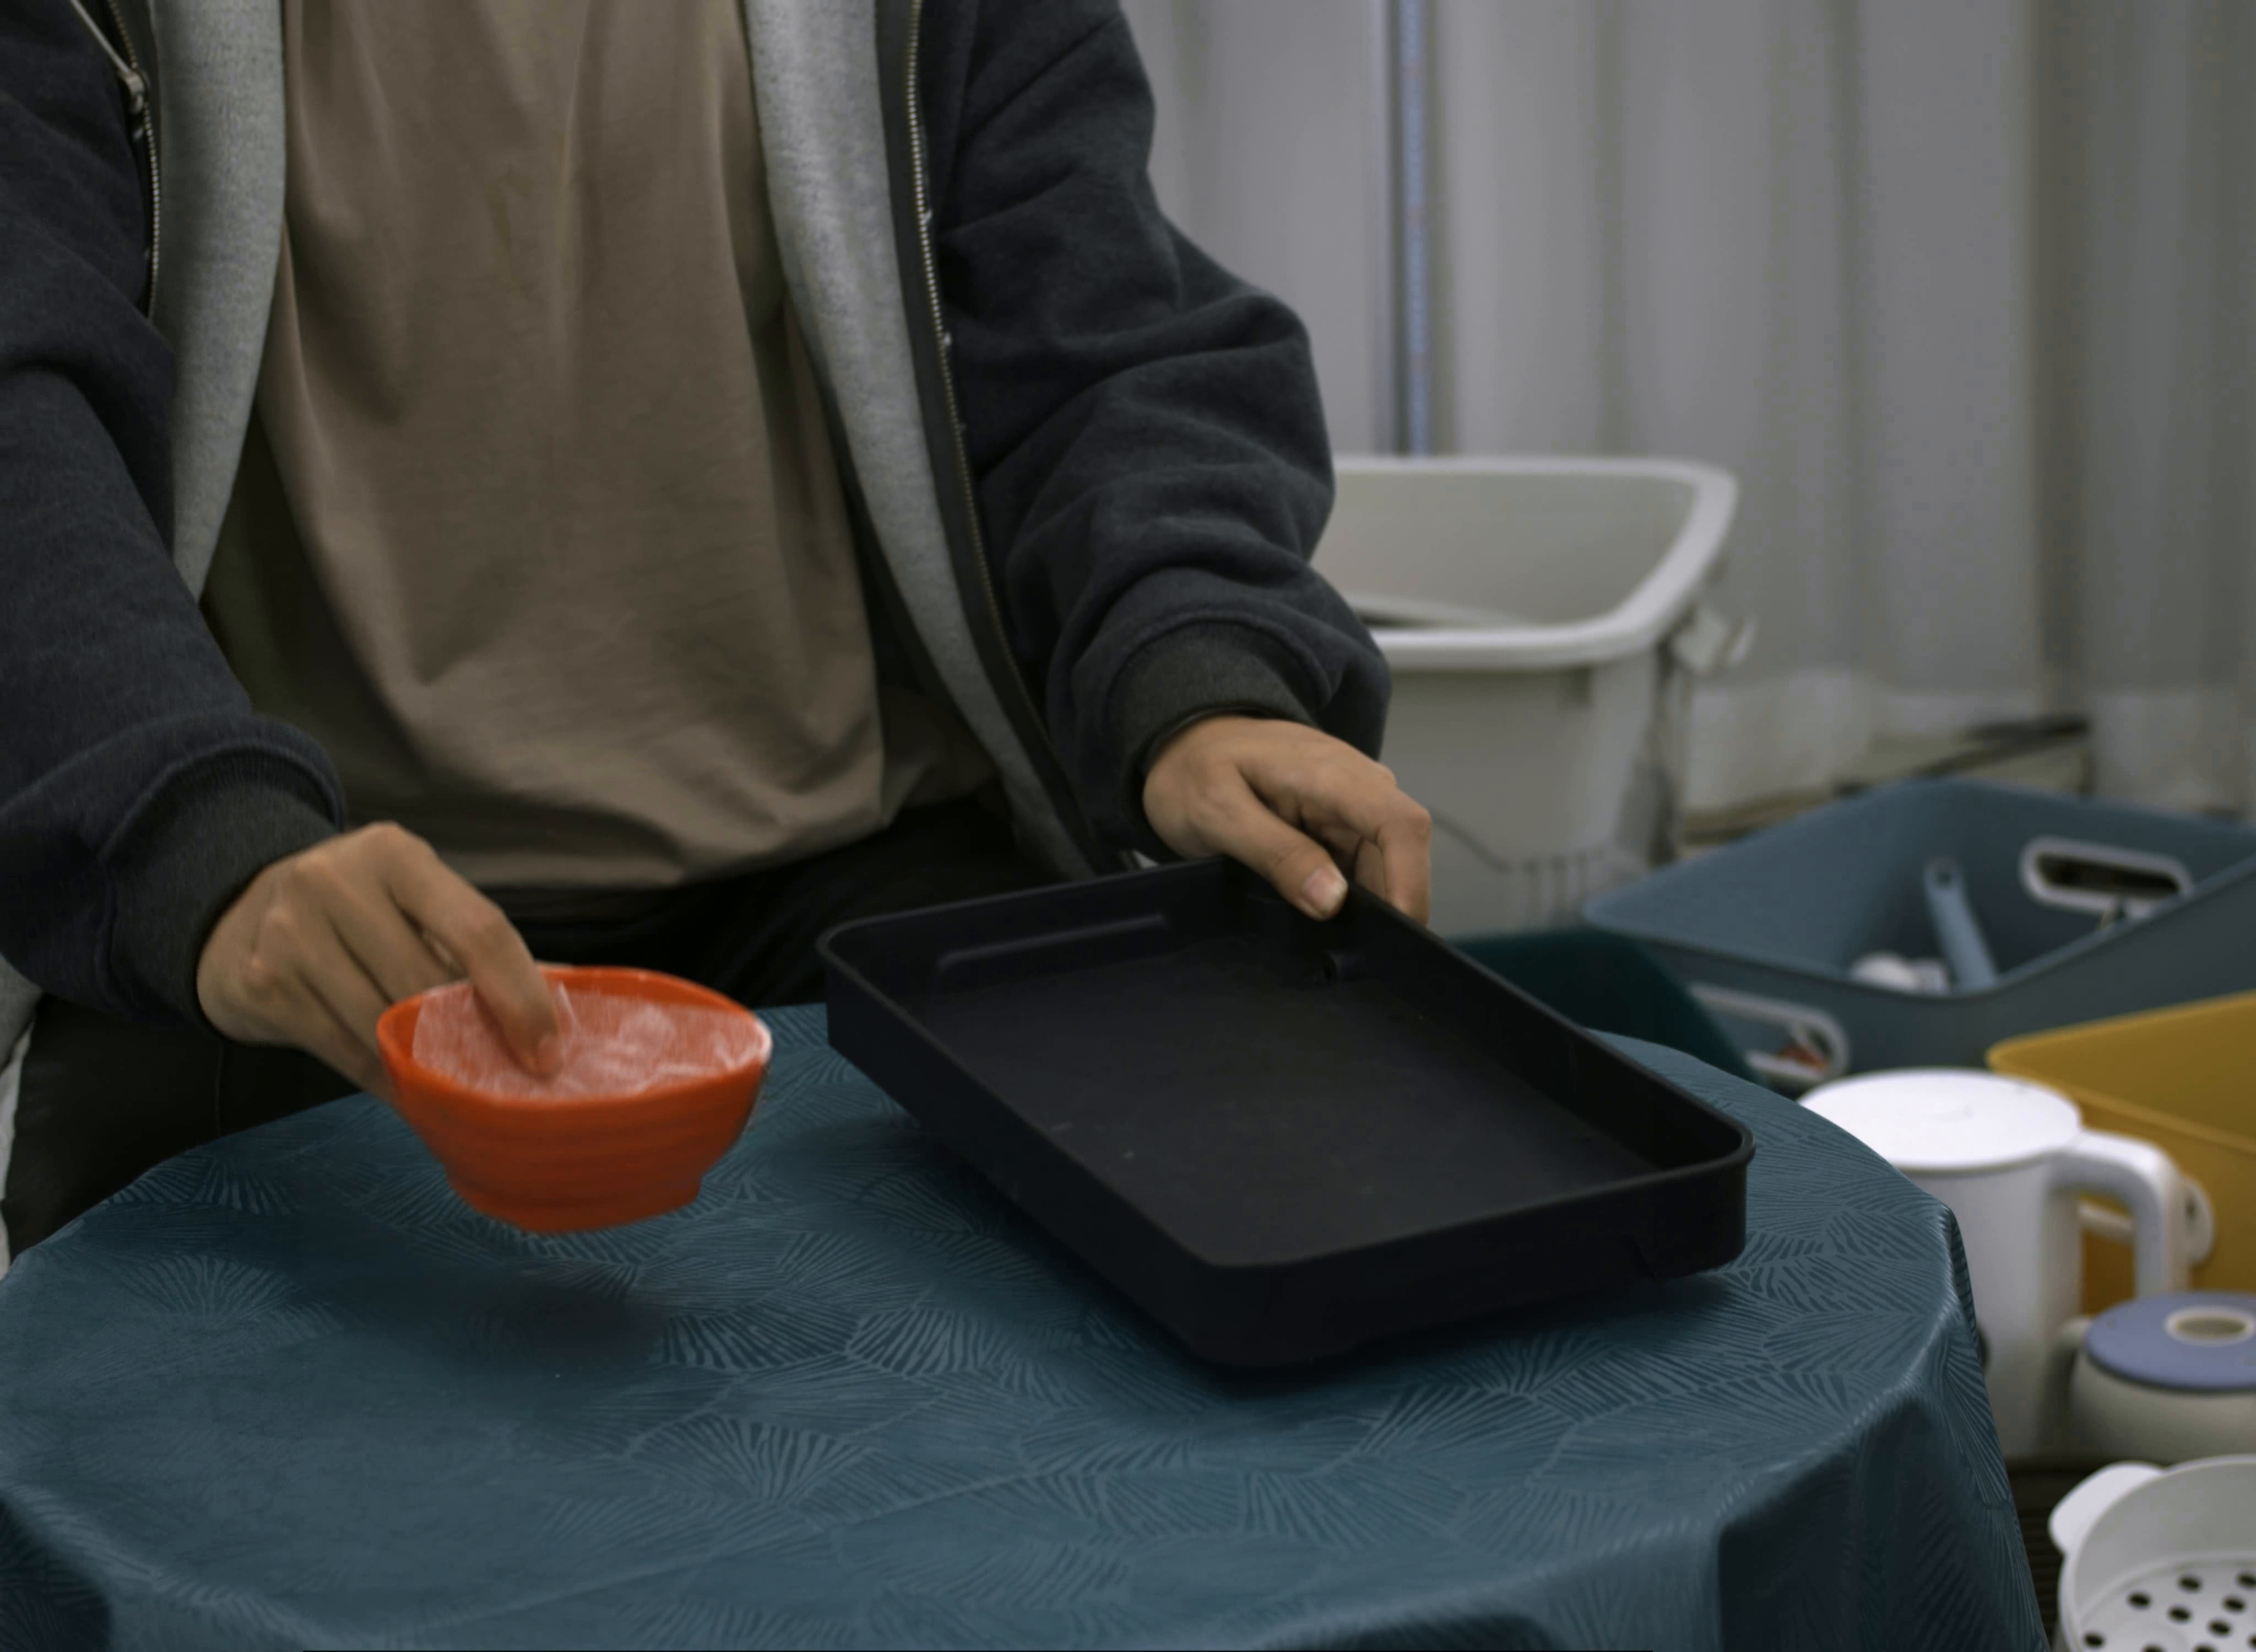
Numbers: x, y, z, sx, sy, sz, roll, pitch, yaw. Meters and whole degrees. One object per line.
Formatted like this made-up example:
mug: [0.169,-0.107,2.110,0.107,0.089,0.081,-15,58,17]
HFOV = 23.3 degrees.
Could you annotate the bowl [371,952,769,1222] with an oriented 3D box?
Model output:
bowl: [-0.165,0.080,1.620,0.118,0.051,0.120,2,18,-1]

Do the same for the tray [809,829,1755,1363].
tray: [0.040,0.077,1.686,0.183,0.037,0.321,-10,21,-23]
